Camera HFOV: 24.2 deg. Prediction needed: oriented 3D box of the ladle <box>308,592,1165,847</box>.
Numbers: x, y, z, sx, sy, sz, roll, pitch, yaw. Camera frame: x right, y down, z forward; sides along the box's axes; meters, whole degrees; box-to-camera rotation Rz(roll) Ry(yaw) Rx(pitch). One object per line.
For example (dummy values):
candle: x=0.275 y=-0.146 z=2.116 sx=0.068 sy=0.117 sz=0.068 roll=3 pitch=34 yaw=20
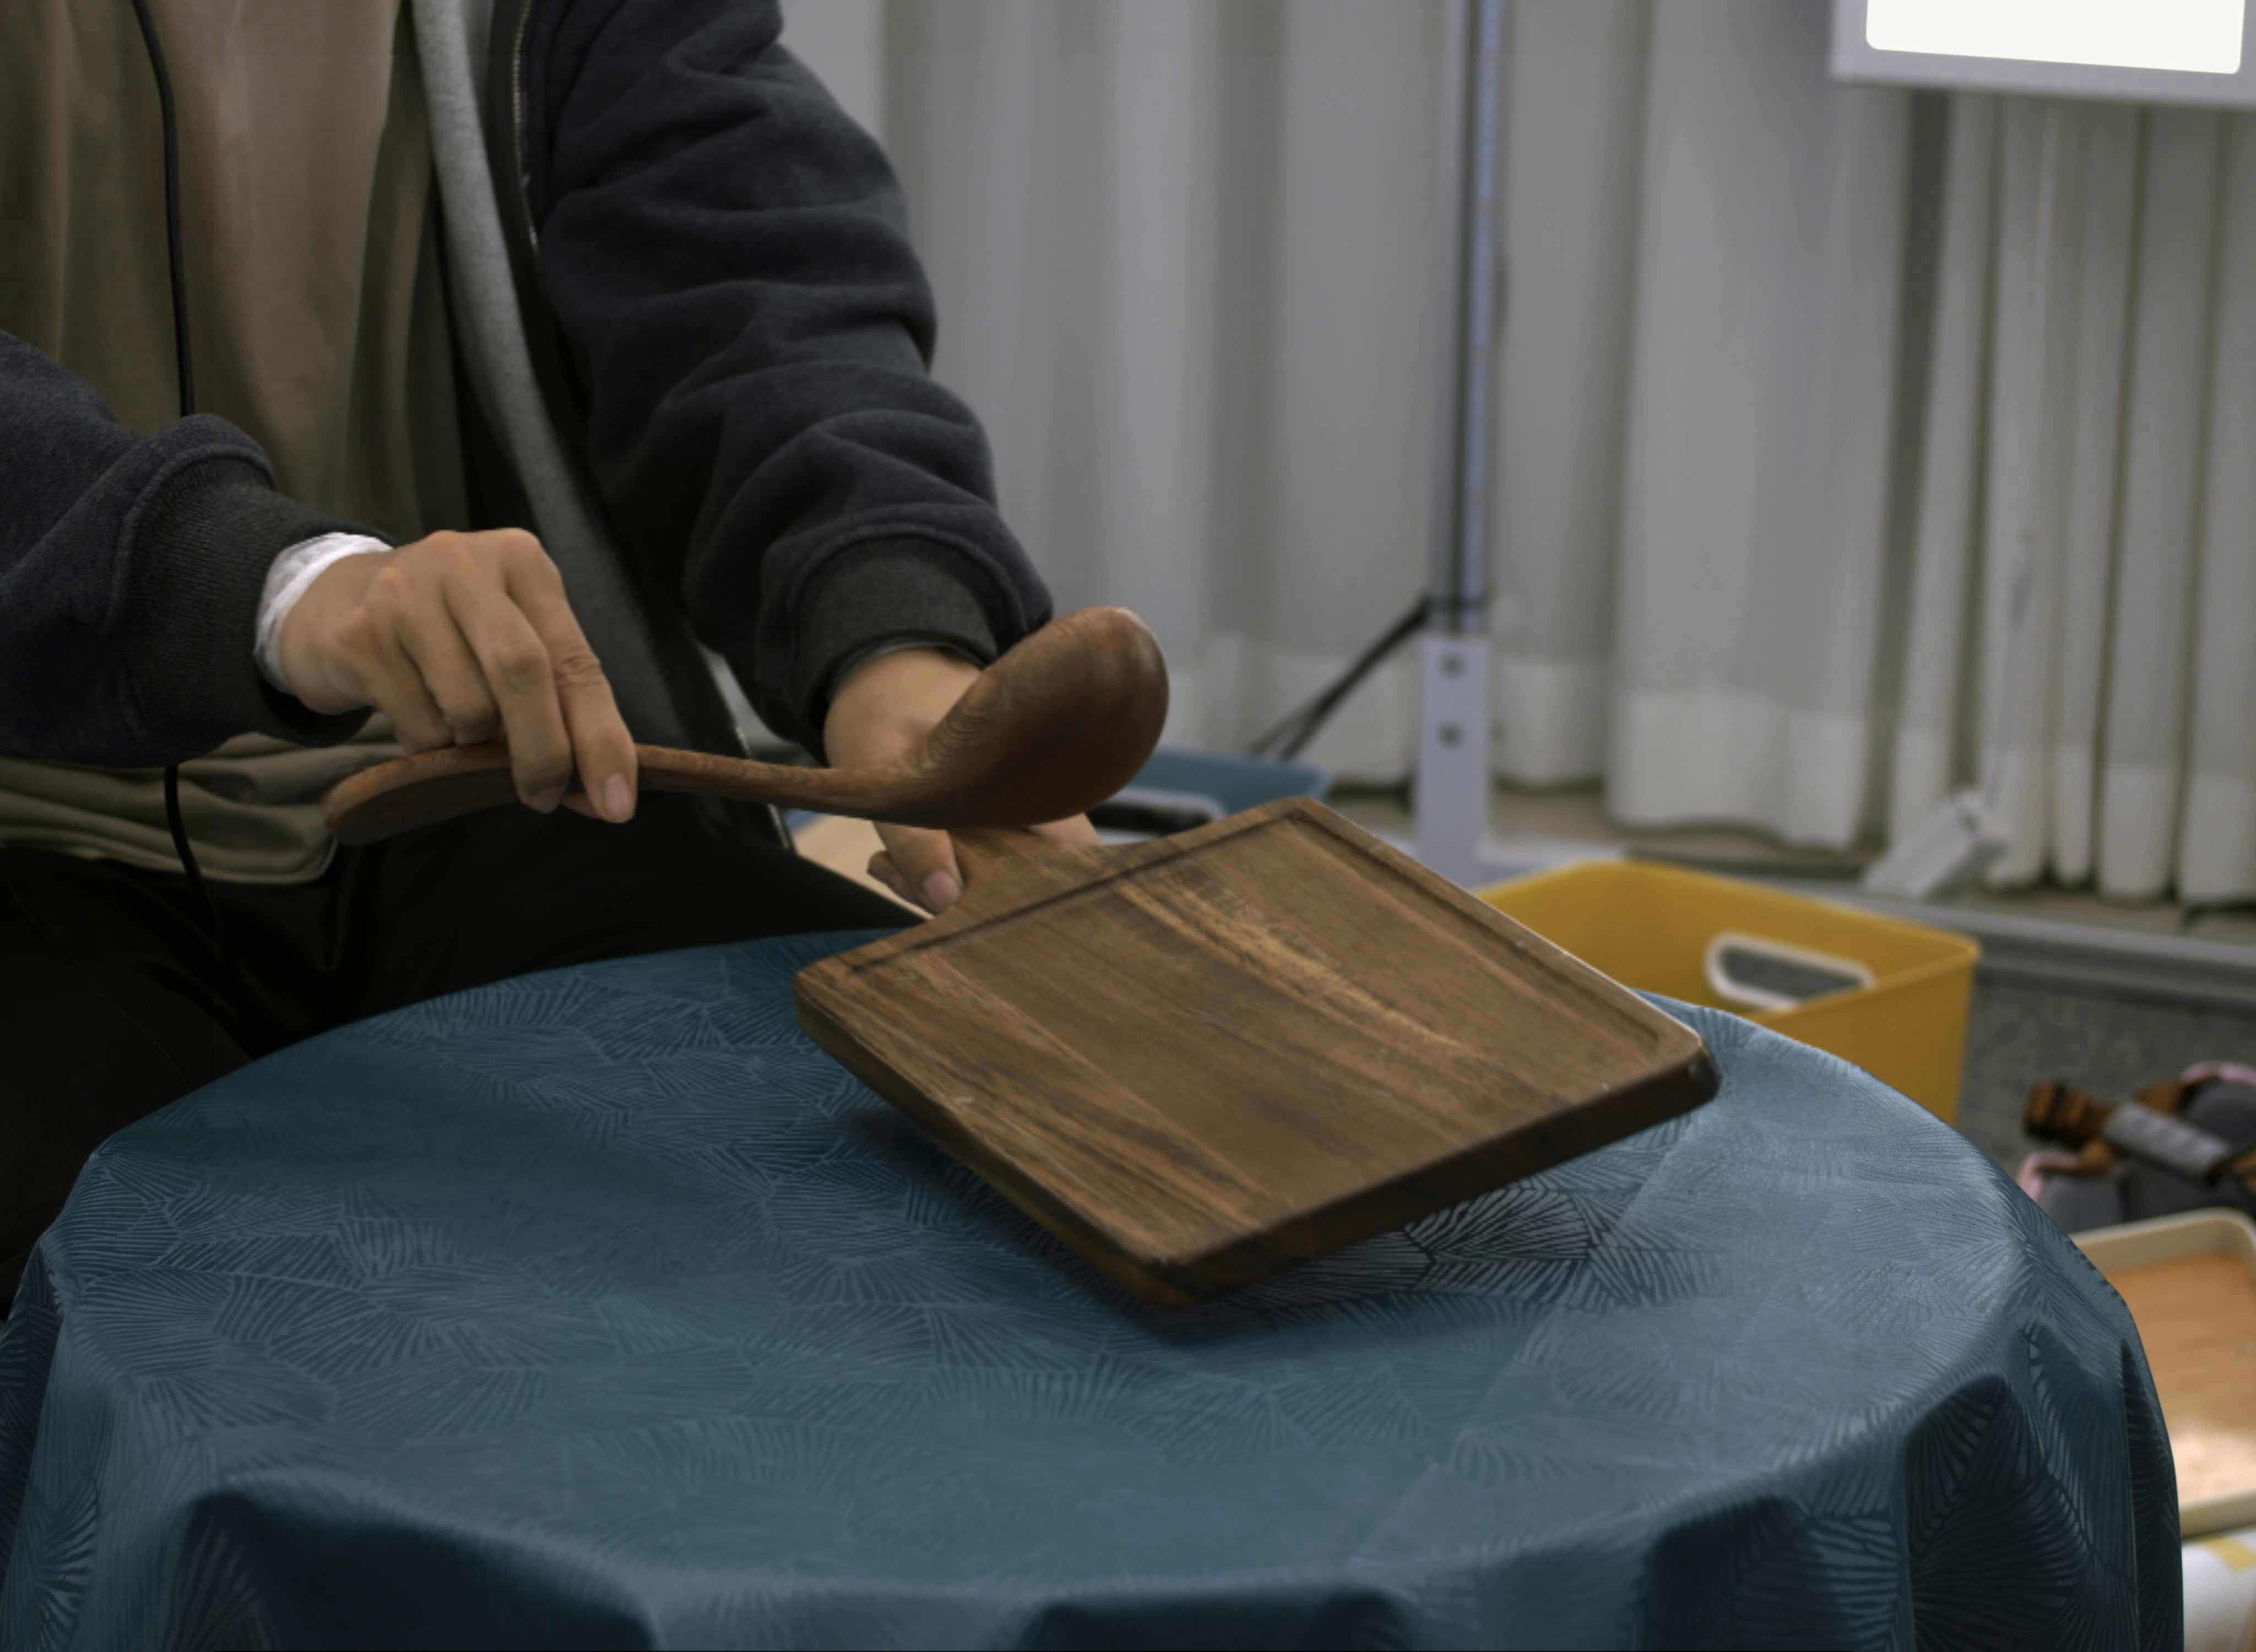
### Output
ladle: x=-0.117 y=-0.029 z=1.570 sx=0.258 sy=0.077 sz=0.064 roll=-2 pitch=56 yaw=12

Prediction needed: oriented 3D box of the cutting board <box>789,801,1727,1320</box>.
cutting board: x=0.012 y=0.050 z=1.659 sx=0.201 sy=0.023 sz=0.347 roll=-18 pitch=27 yaw=-24
